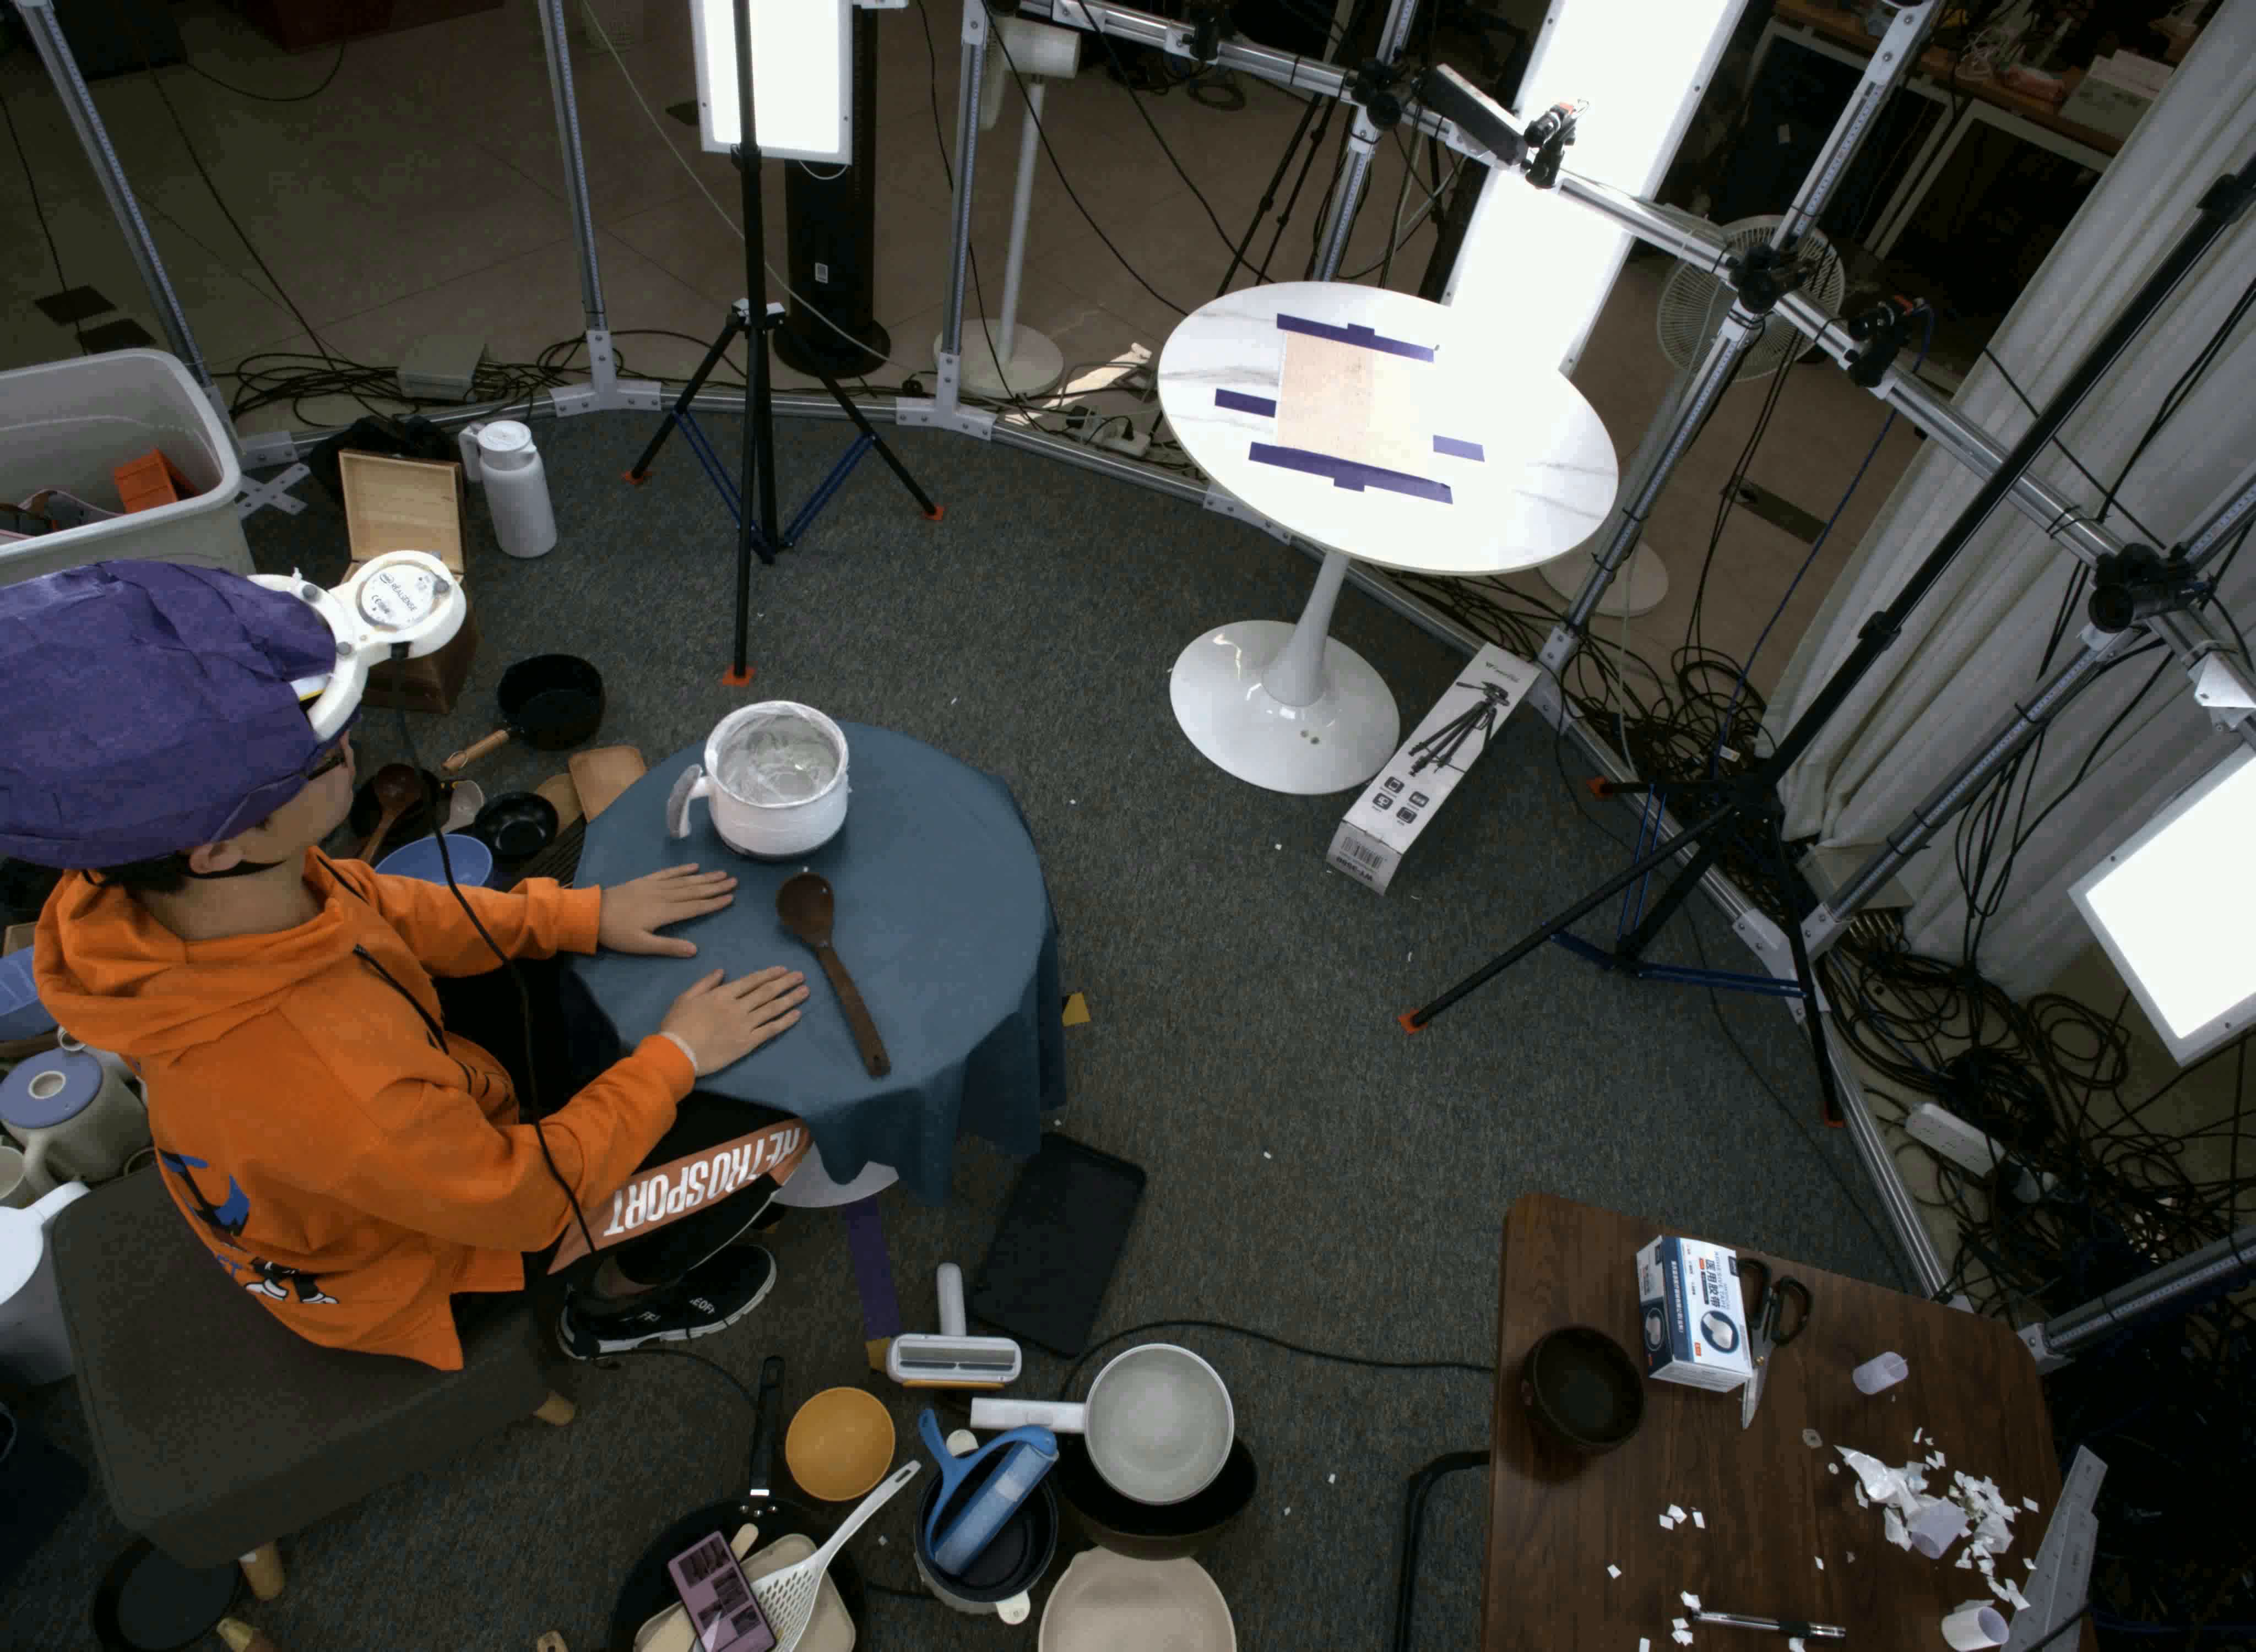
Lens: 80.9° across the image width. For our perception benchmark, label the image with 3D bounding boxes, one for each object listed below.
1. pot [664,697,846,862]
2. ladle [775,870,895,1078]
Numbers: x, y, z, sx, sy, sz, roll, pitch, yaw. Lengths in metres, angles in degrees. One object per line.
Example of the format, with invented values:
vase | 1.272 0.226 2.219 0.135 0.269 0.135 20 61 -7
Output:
pot | -0.476 -0.049 1.647 0.235 0.139 0.174 -16 58 -25
ladle | -0.347 0.171 1.561 0.076 0.073 0.267 -21 61 -24
